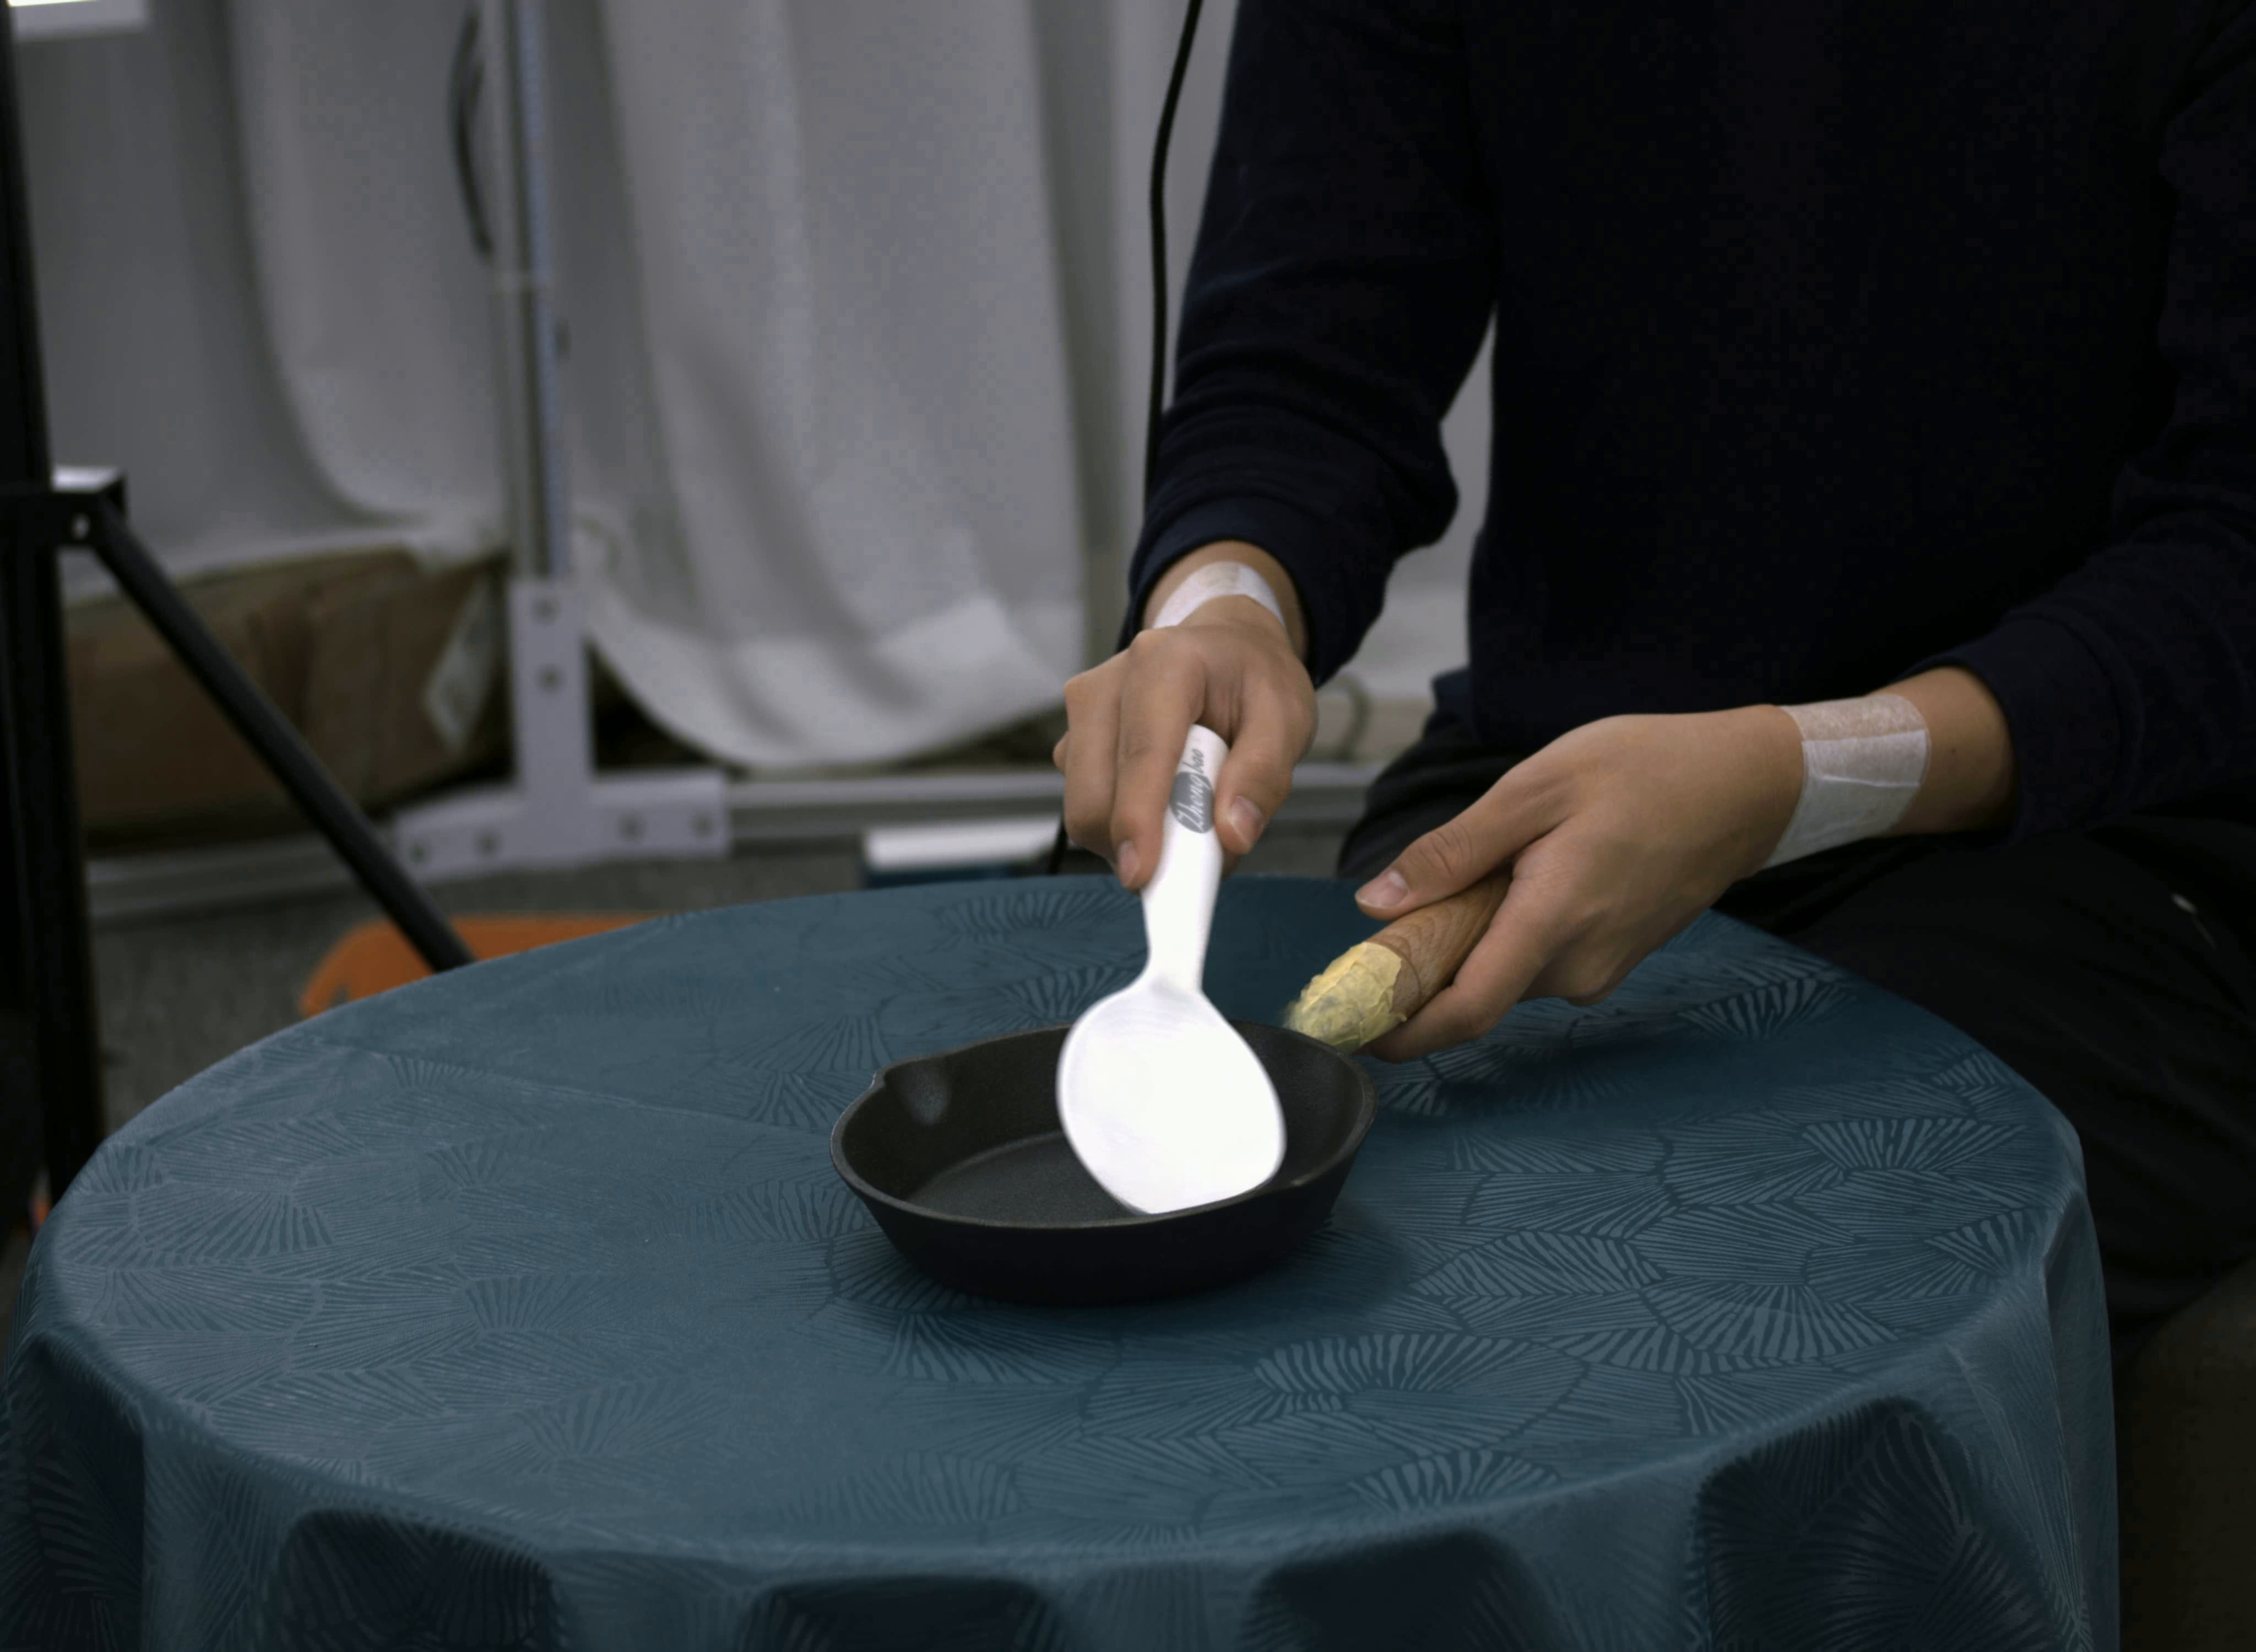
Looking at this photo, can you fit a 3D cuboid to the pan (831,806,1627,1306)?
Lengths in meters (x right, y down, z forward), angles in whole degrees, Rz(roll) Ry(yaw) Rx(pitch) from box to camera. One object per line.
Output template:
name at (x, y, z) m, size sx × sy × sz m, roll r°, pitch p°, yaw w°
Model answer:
pan at (0.050, 0.065, 1.572) m, size 0.173 × 0.049 × 0.317 m, roll 12°, pitch 27°, yaw 43°

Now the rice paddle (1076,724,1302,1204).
rice paddle at (0.018, 0.045, 1.563) m, size 0.068 × 0.029 × 0.207 m, roll 13°, pitch 38°, yaw -11°
